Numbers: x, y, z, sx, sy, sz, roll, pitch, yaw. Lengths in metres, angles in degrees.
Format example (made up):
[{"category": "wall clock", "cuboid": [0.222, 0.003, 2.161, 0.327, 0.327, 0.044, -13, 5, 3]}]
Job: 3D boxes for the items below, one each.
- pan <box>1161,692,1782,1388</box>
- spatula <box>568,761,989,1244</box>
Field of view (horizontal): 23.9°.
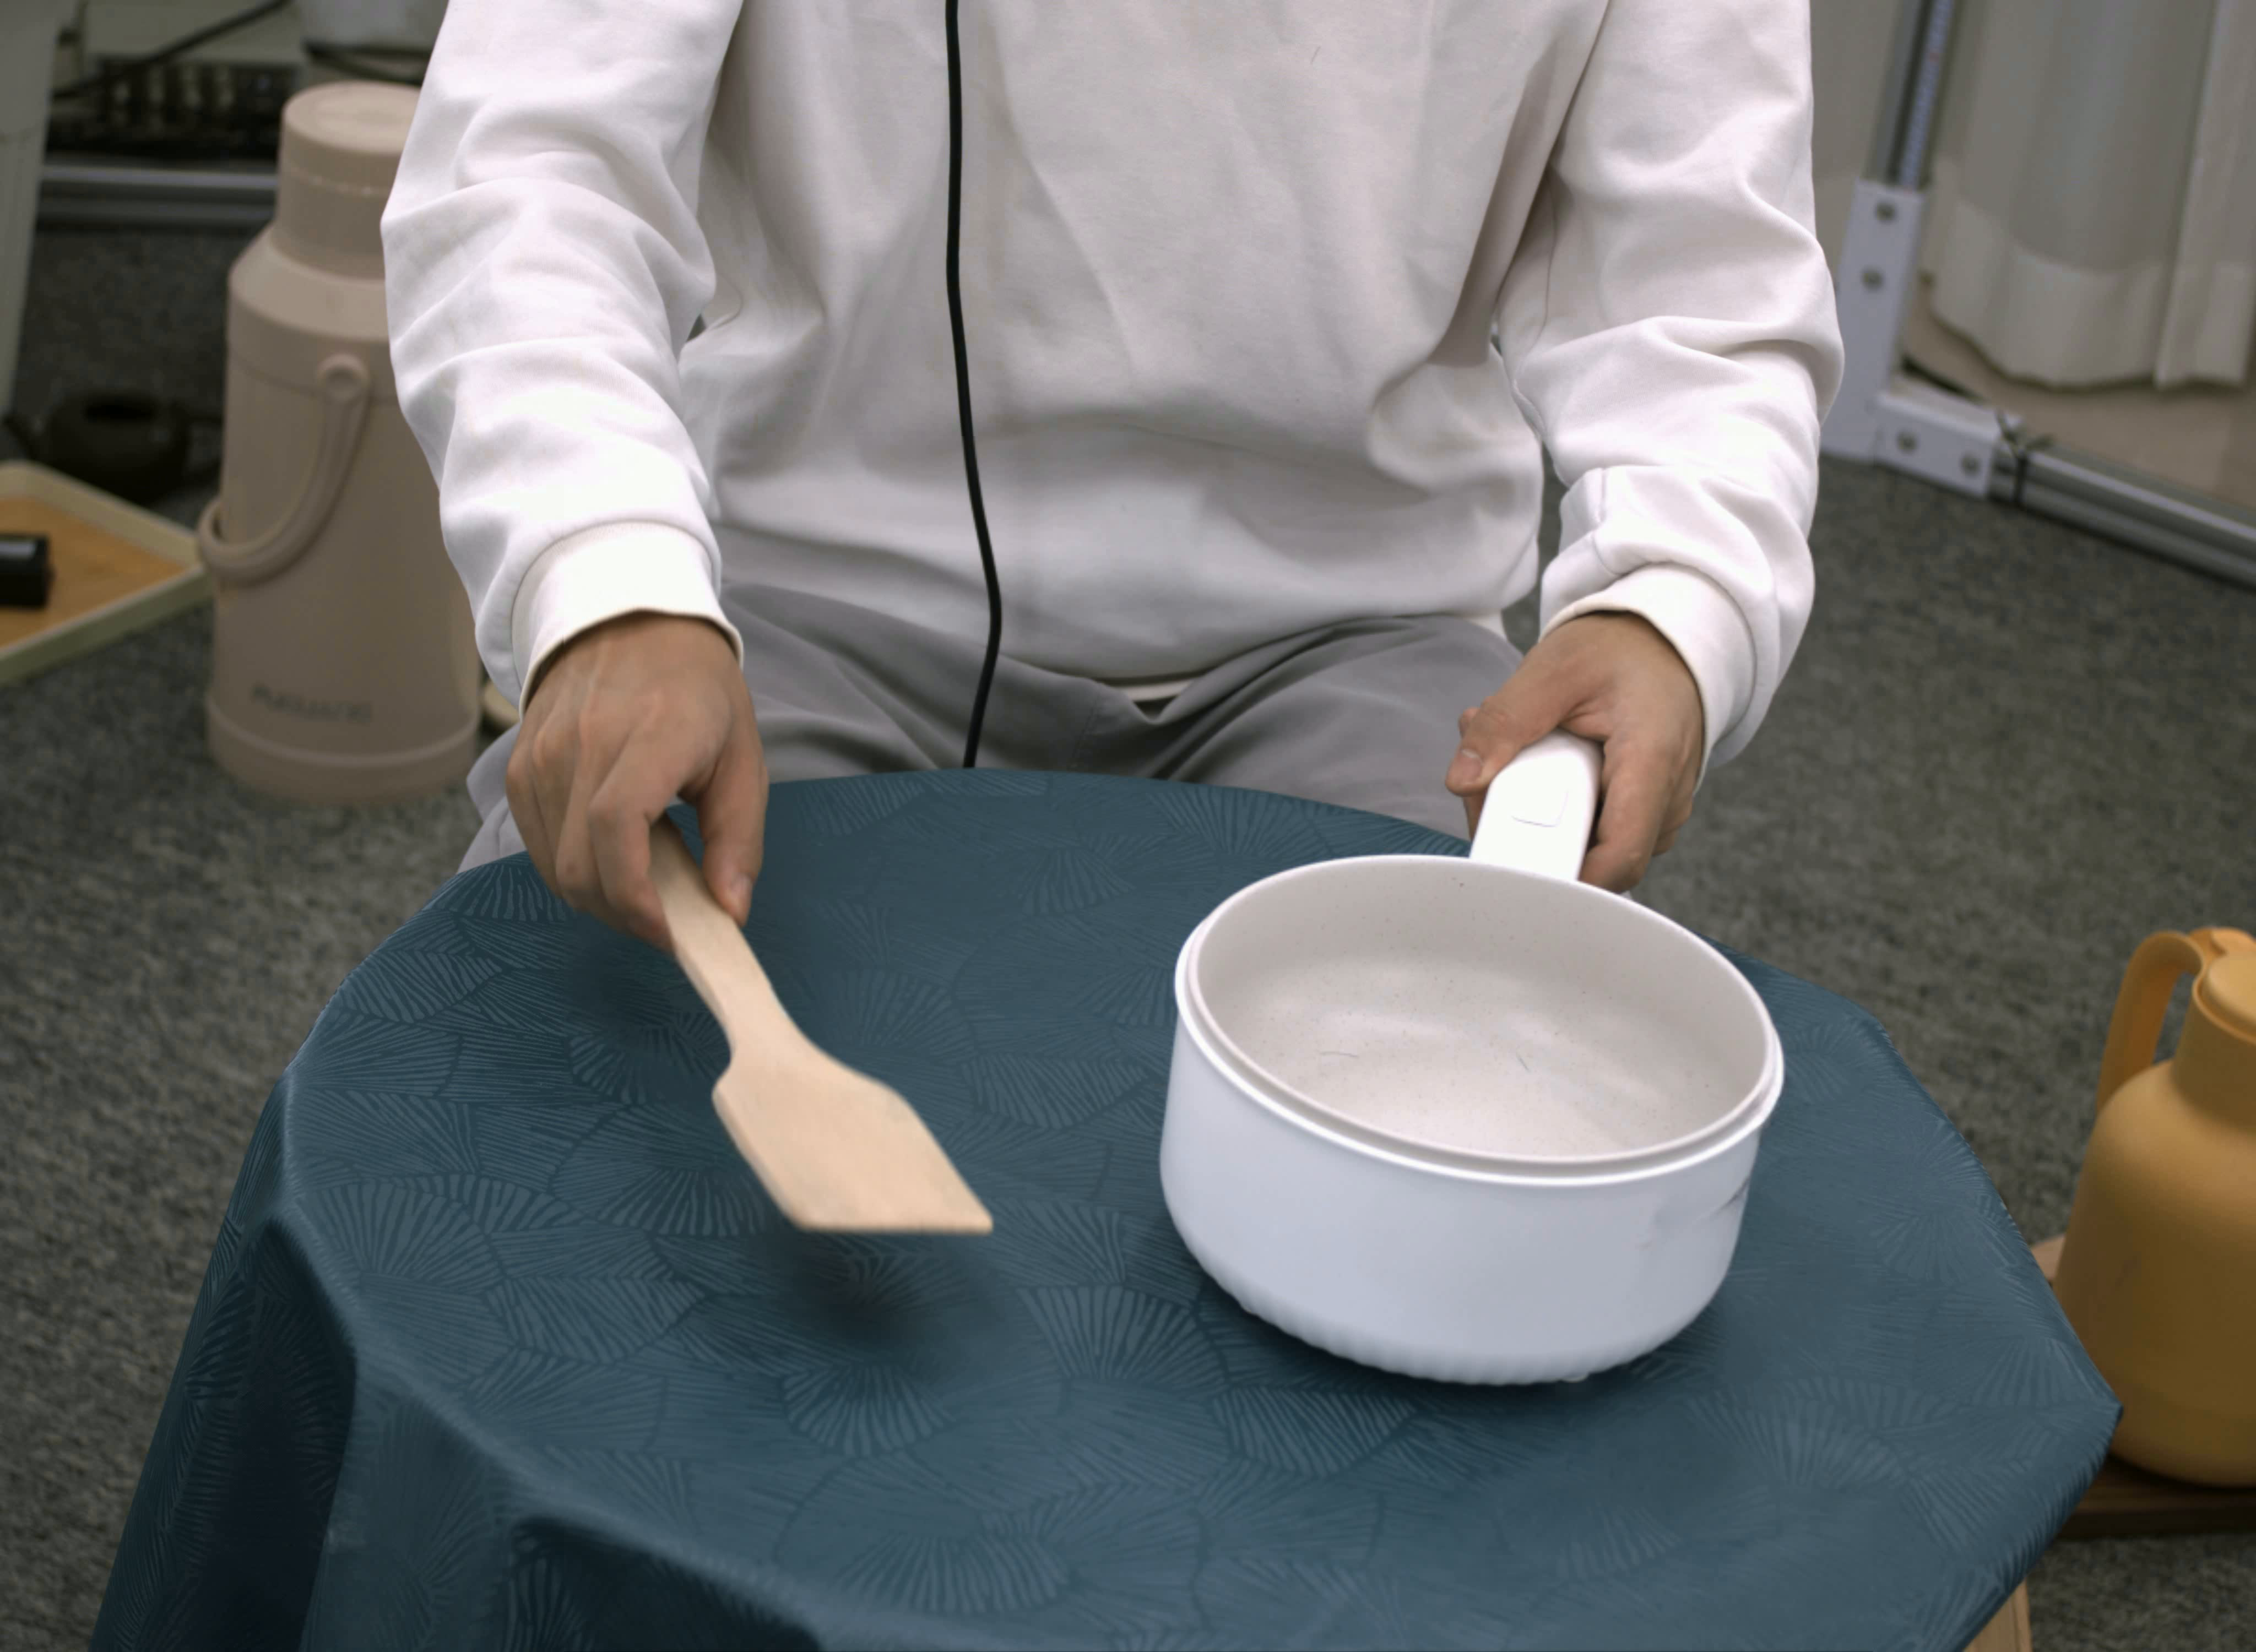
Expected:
[{"category": "pan", "cuboid": [0.124, 0.069, 1.829, 0.201, 0.102, 0.356, 10, 27, 7]}, {"category": "spatula", "cuboid": [-0.133, 0.056, 1.798, 0.071, 0.010, 0.296, 3, 31, -30]}]
